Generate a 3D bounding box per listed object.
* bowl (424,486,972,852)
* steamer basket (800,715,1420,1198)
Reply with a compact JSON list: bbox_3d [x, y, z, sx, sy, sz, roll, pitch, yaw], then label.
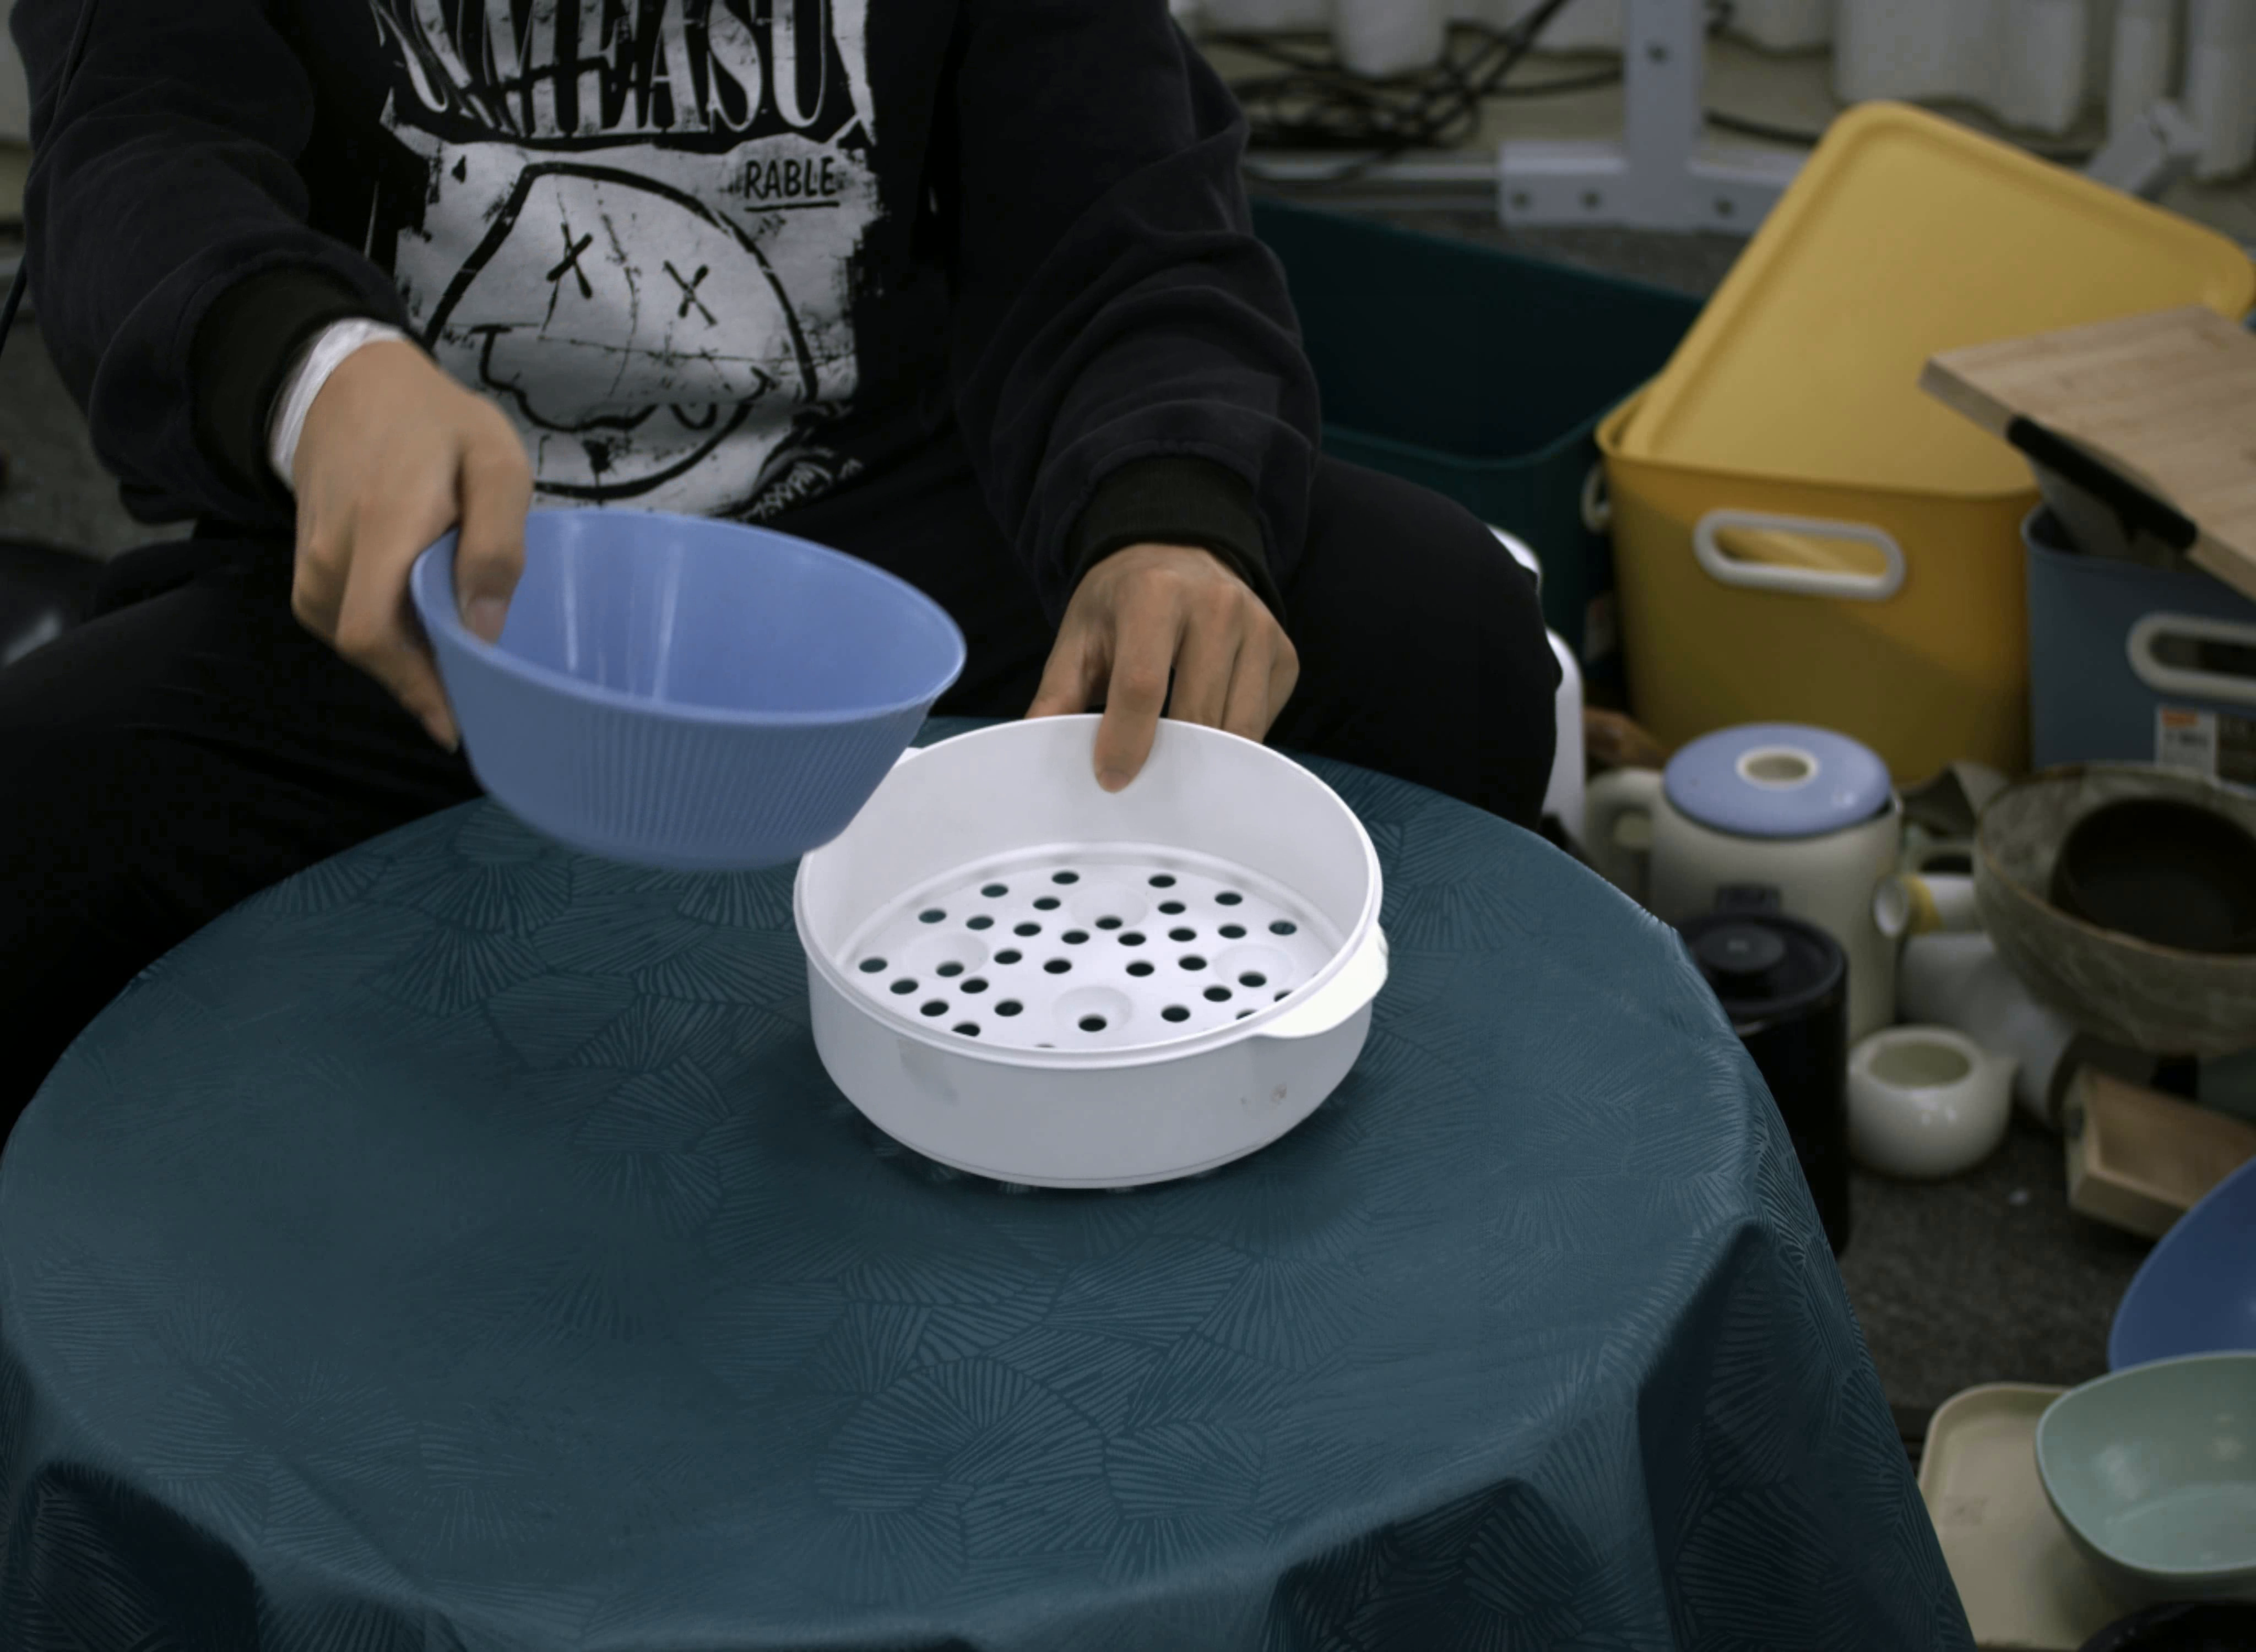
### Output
[{"bbox_3d":[-0.141,-0.045,1.782,0.175,0.069,0.178,11,21,-4],"label":"bowl"},{"bbox_3d":[-0.008,0.045,1.916,0.230,0.068,0.205,22,41,27],"label":"steamer basket"}]
